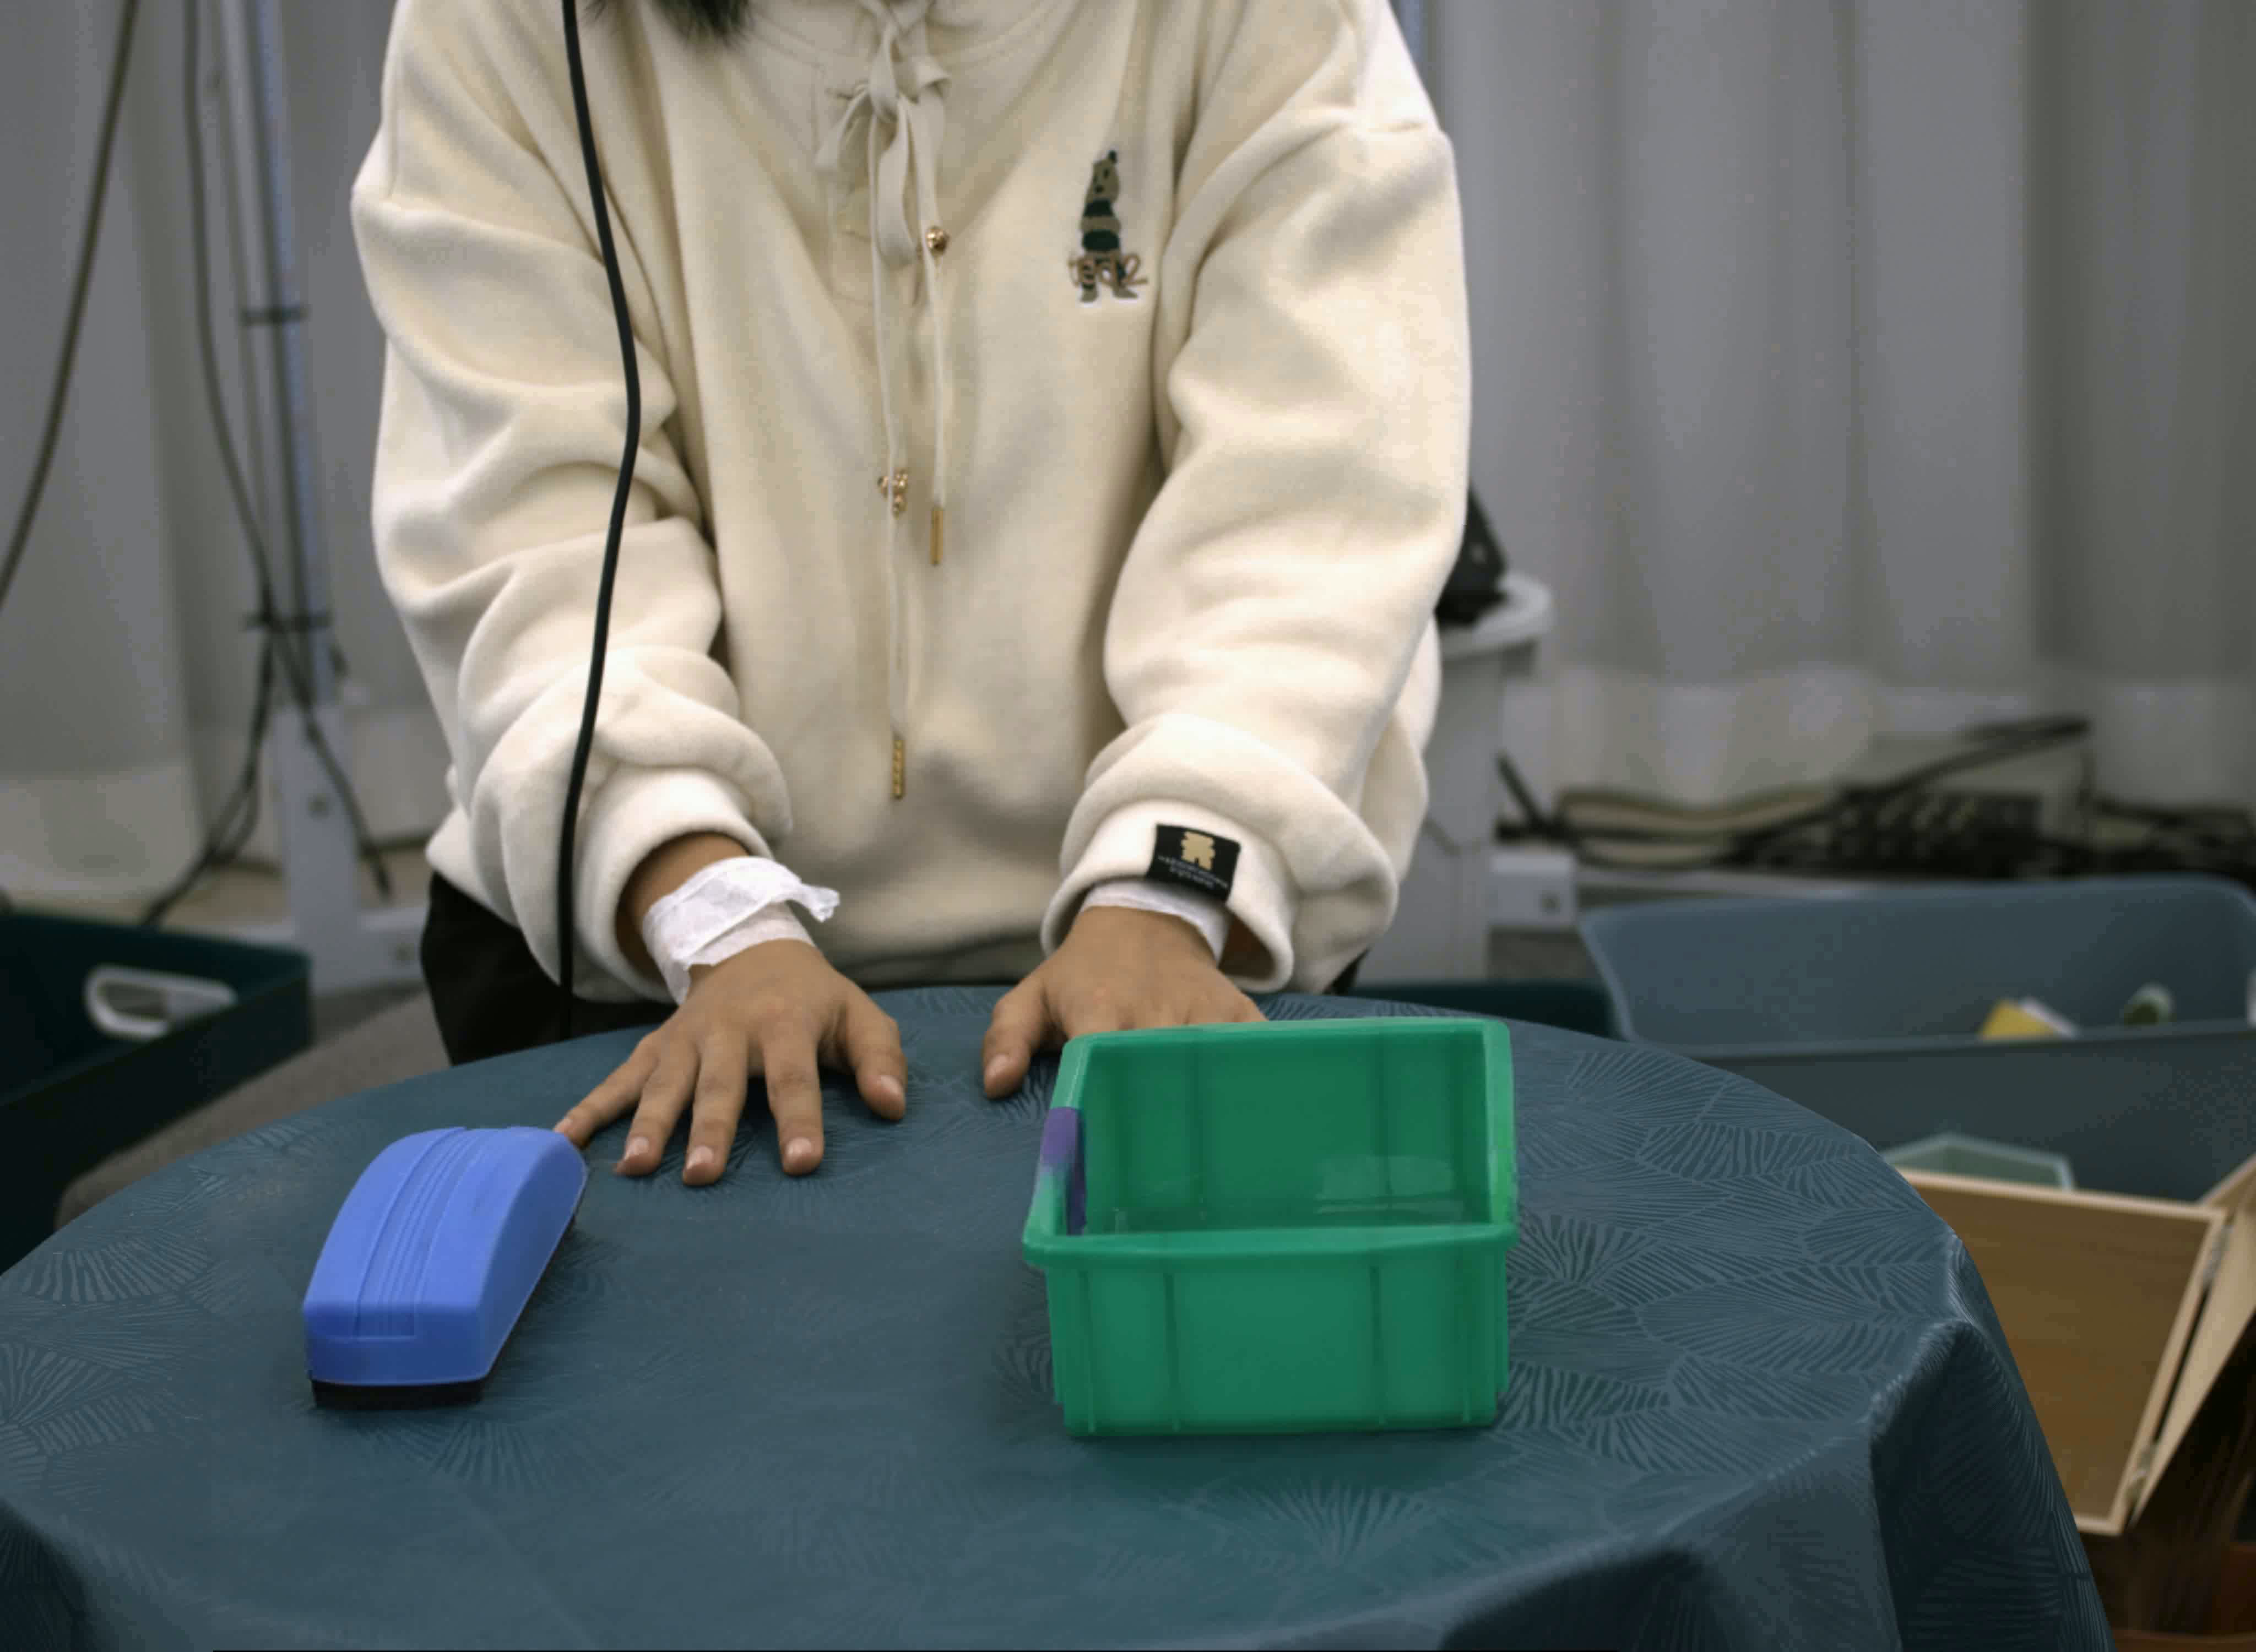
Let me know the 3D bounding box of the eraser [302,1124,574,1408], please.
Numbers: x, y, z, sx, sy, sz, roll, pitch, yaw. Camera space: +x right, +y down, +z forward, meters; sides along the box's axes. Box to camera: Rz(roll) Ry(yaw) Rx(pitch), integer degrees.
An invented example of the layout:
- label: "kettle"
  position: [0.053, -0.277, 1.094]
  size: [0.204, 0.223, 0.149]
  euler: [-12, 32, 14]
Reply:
- label: "eraser"
  position: [-0.204, 0.124, 1.629]
  size: [0.054, 0.047, 0.163]
  euler: [-1, 15, 5]

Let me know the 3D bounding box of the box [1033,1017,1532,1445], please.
- label: "box"
  position: [0.047, 0.116, 1.581]
  size: [0.138, 0.065, 0.212]
  euler: [-4, 15, 3]
